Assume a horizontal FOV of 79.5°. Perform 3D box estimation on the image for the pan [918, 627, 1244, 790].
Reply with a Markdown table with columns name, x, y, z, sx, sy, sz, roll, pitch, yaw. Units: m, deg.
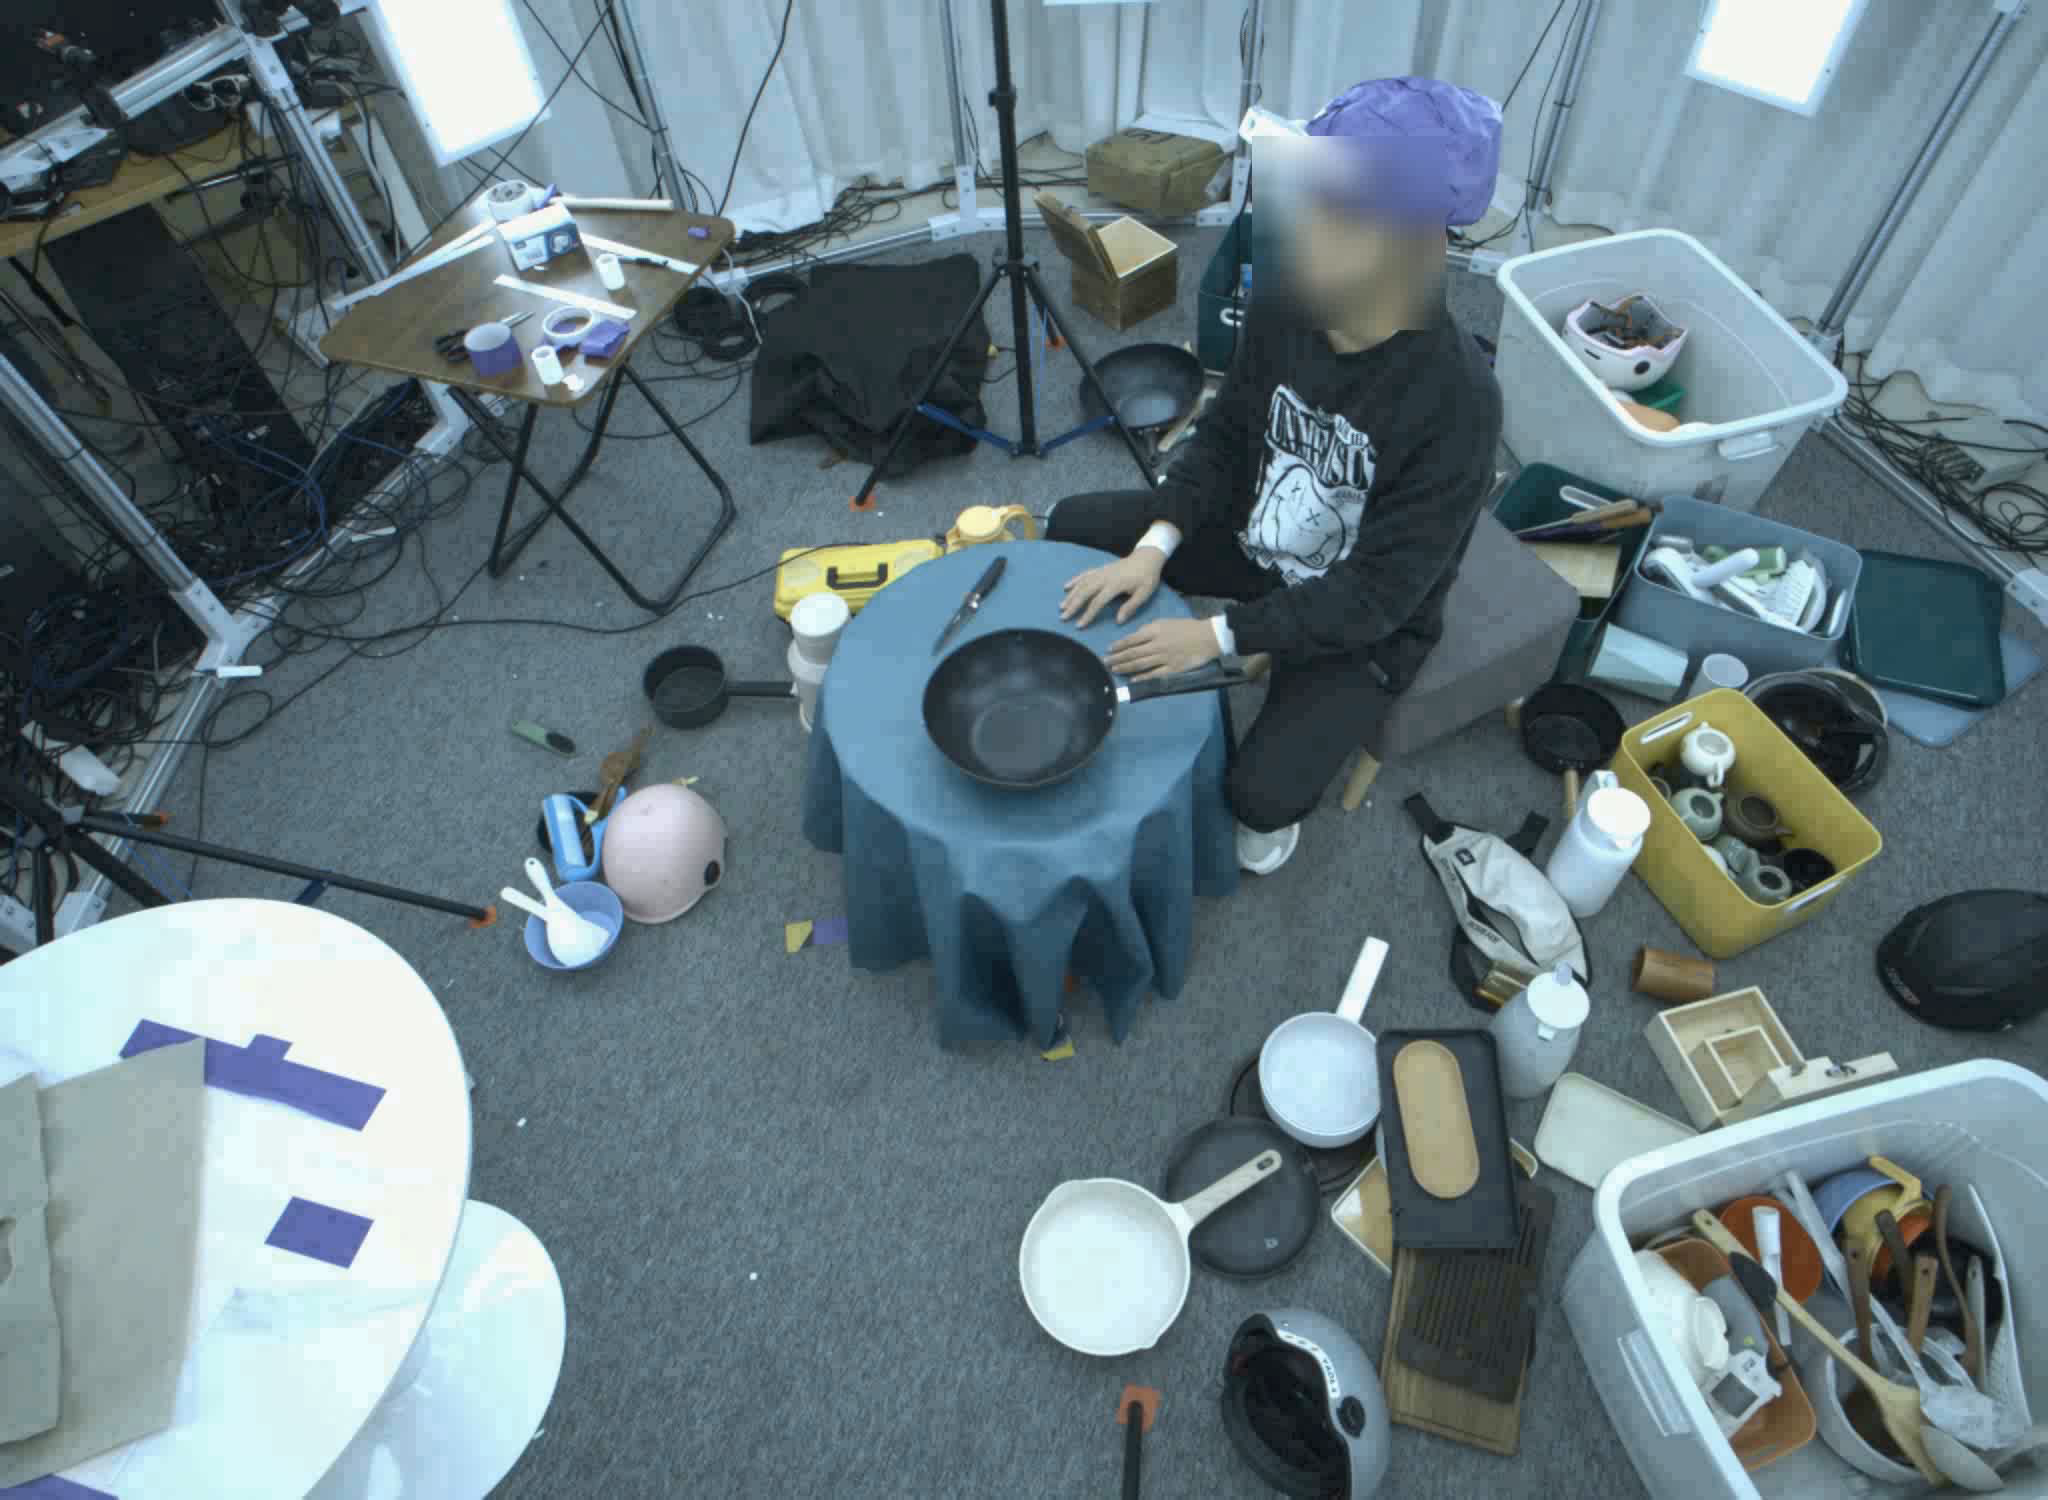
| name | x | y | z | sx | sy | sz | roll | pitch | yaw |
| --- | --- | --- | --- | --- | --- | --- | --- | --- | --- |
| pan | 0.082 | -0.057 | 1.772 | 0.465 | 0.088 | 0.284 | -6 | 55 | -4 |

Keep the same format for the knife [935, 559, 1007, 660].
| name | x | y | z | sx | sy | sz | roll | pitch | yaw |
| --- | --- | --- | --- | --- | --- | --- | --- | --- | --- |
| knife | -0.087 | -0.225 | 1.941 | 0.026 | 0.017 | 0.226 | 30 | 61 | 7 |
